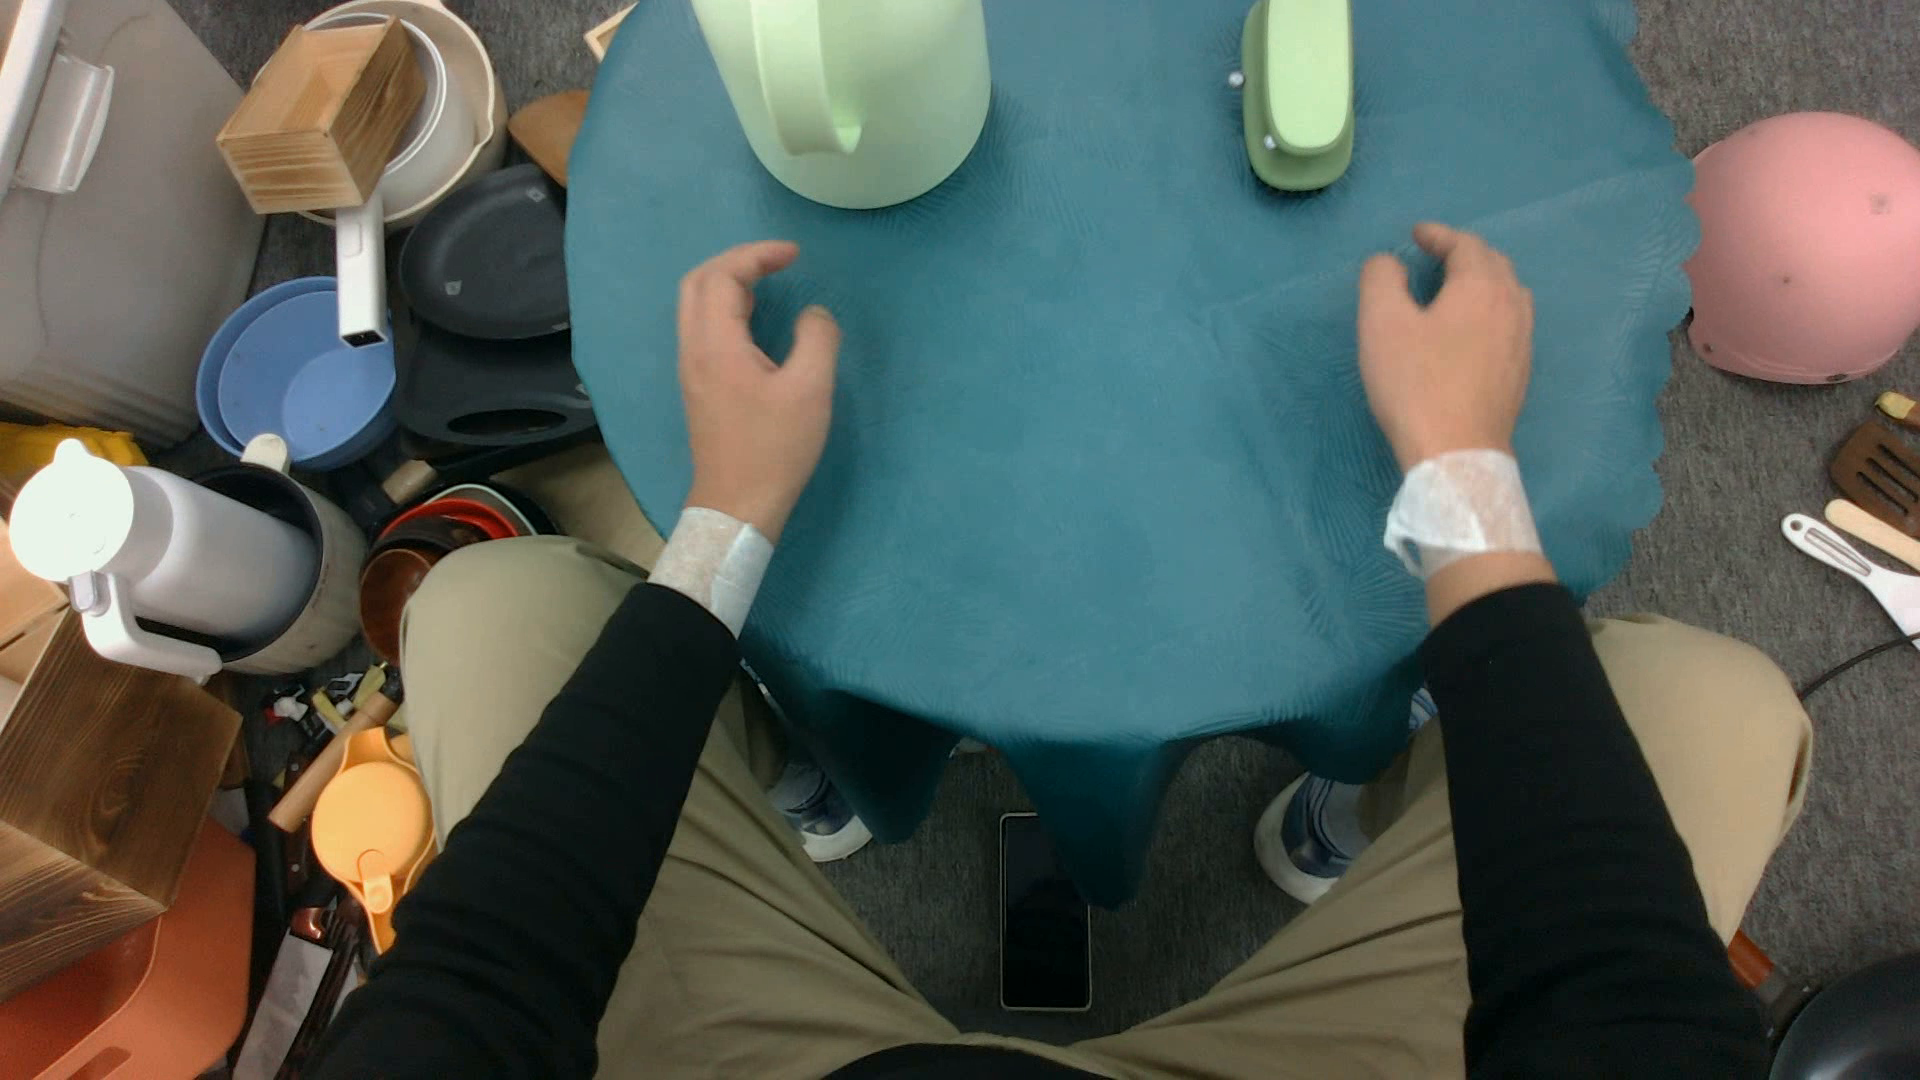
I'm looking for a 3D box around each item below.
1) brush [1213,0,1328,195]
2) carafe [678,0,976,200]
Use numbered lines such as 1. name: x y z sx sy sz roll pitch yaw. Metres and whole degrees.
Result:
1. brush: 0.172 -0.254 0.764 0.059 0.076 0.123 4 95 2
2. carafe: -0.071 -0.270 0.671 0.144 0.256 0.187 0 79 4
